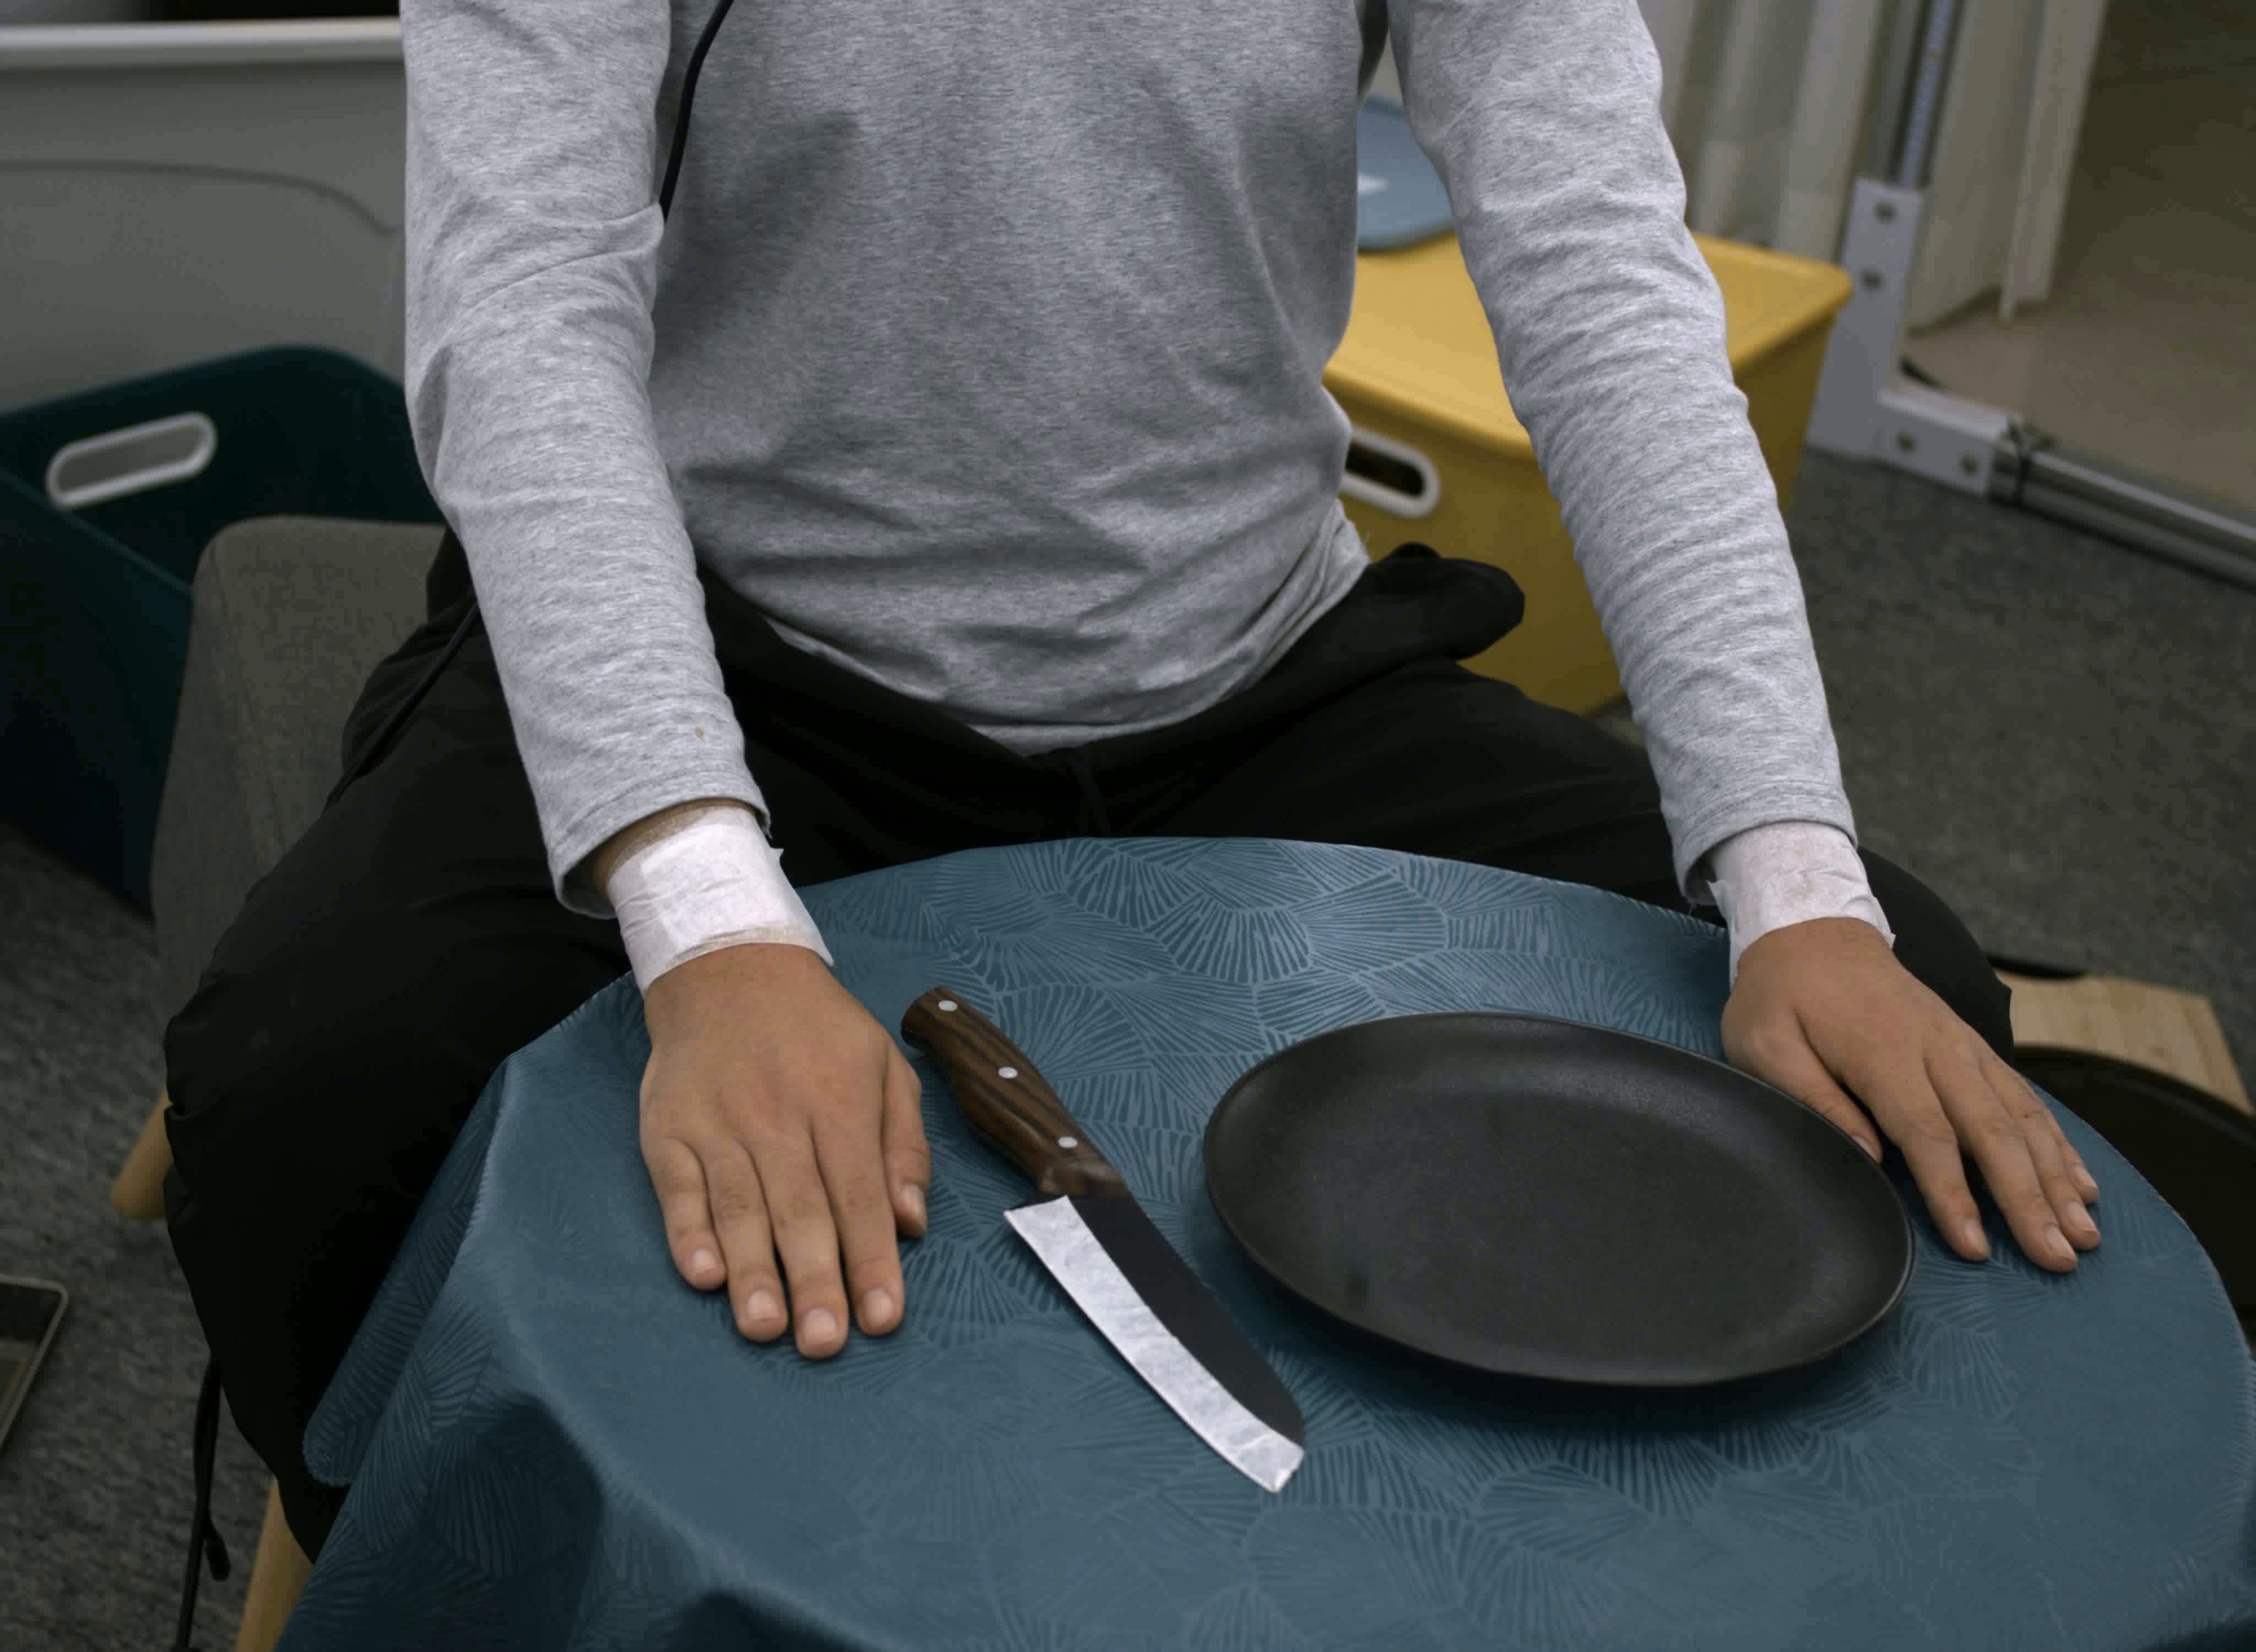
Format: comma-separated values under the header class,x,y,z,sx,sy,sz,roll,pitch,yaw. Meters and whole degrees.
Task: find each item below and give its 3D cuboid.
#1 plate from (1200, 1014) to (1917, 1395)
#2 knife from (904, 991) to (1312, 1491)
class,x,y,z,sx,sy,sz,roll,pitch,yaw
plate,0.144,0.131,1.798,0.243,0.023,0.246,5,27,-3
knife,-0.010,0.136,1.764,0.050,0.020,0.292,-11,34,-22
